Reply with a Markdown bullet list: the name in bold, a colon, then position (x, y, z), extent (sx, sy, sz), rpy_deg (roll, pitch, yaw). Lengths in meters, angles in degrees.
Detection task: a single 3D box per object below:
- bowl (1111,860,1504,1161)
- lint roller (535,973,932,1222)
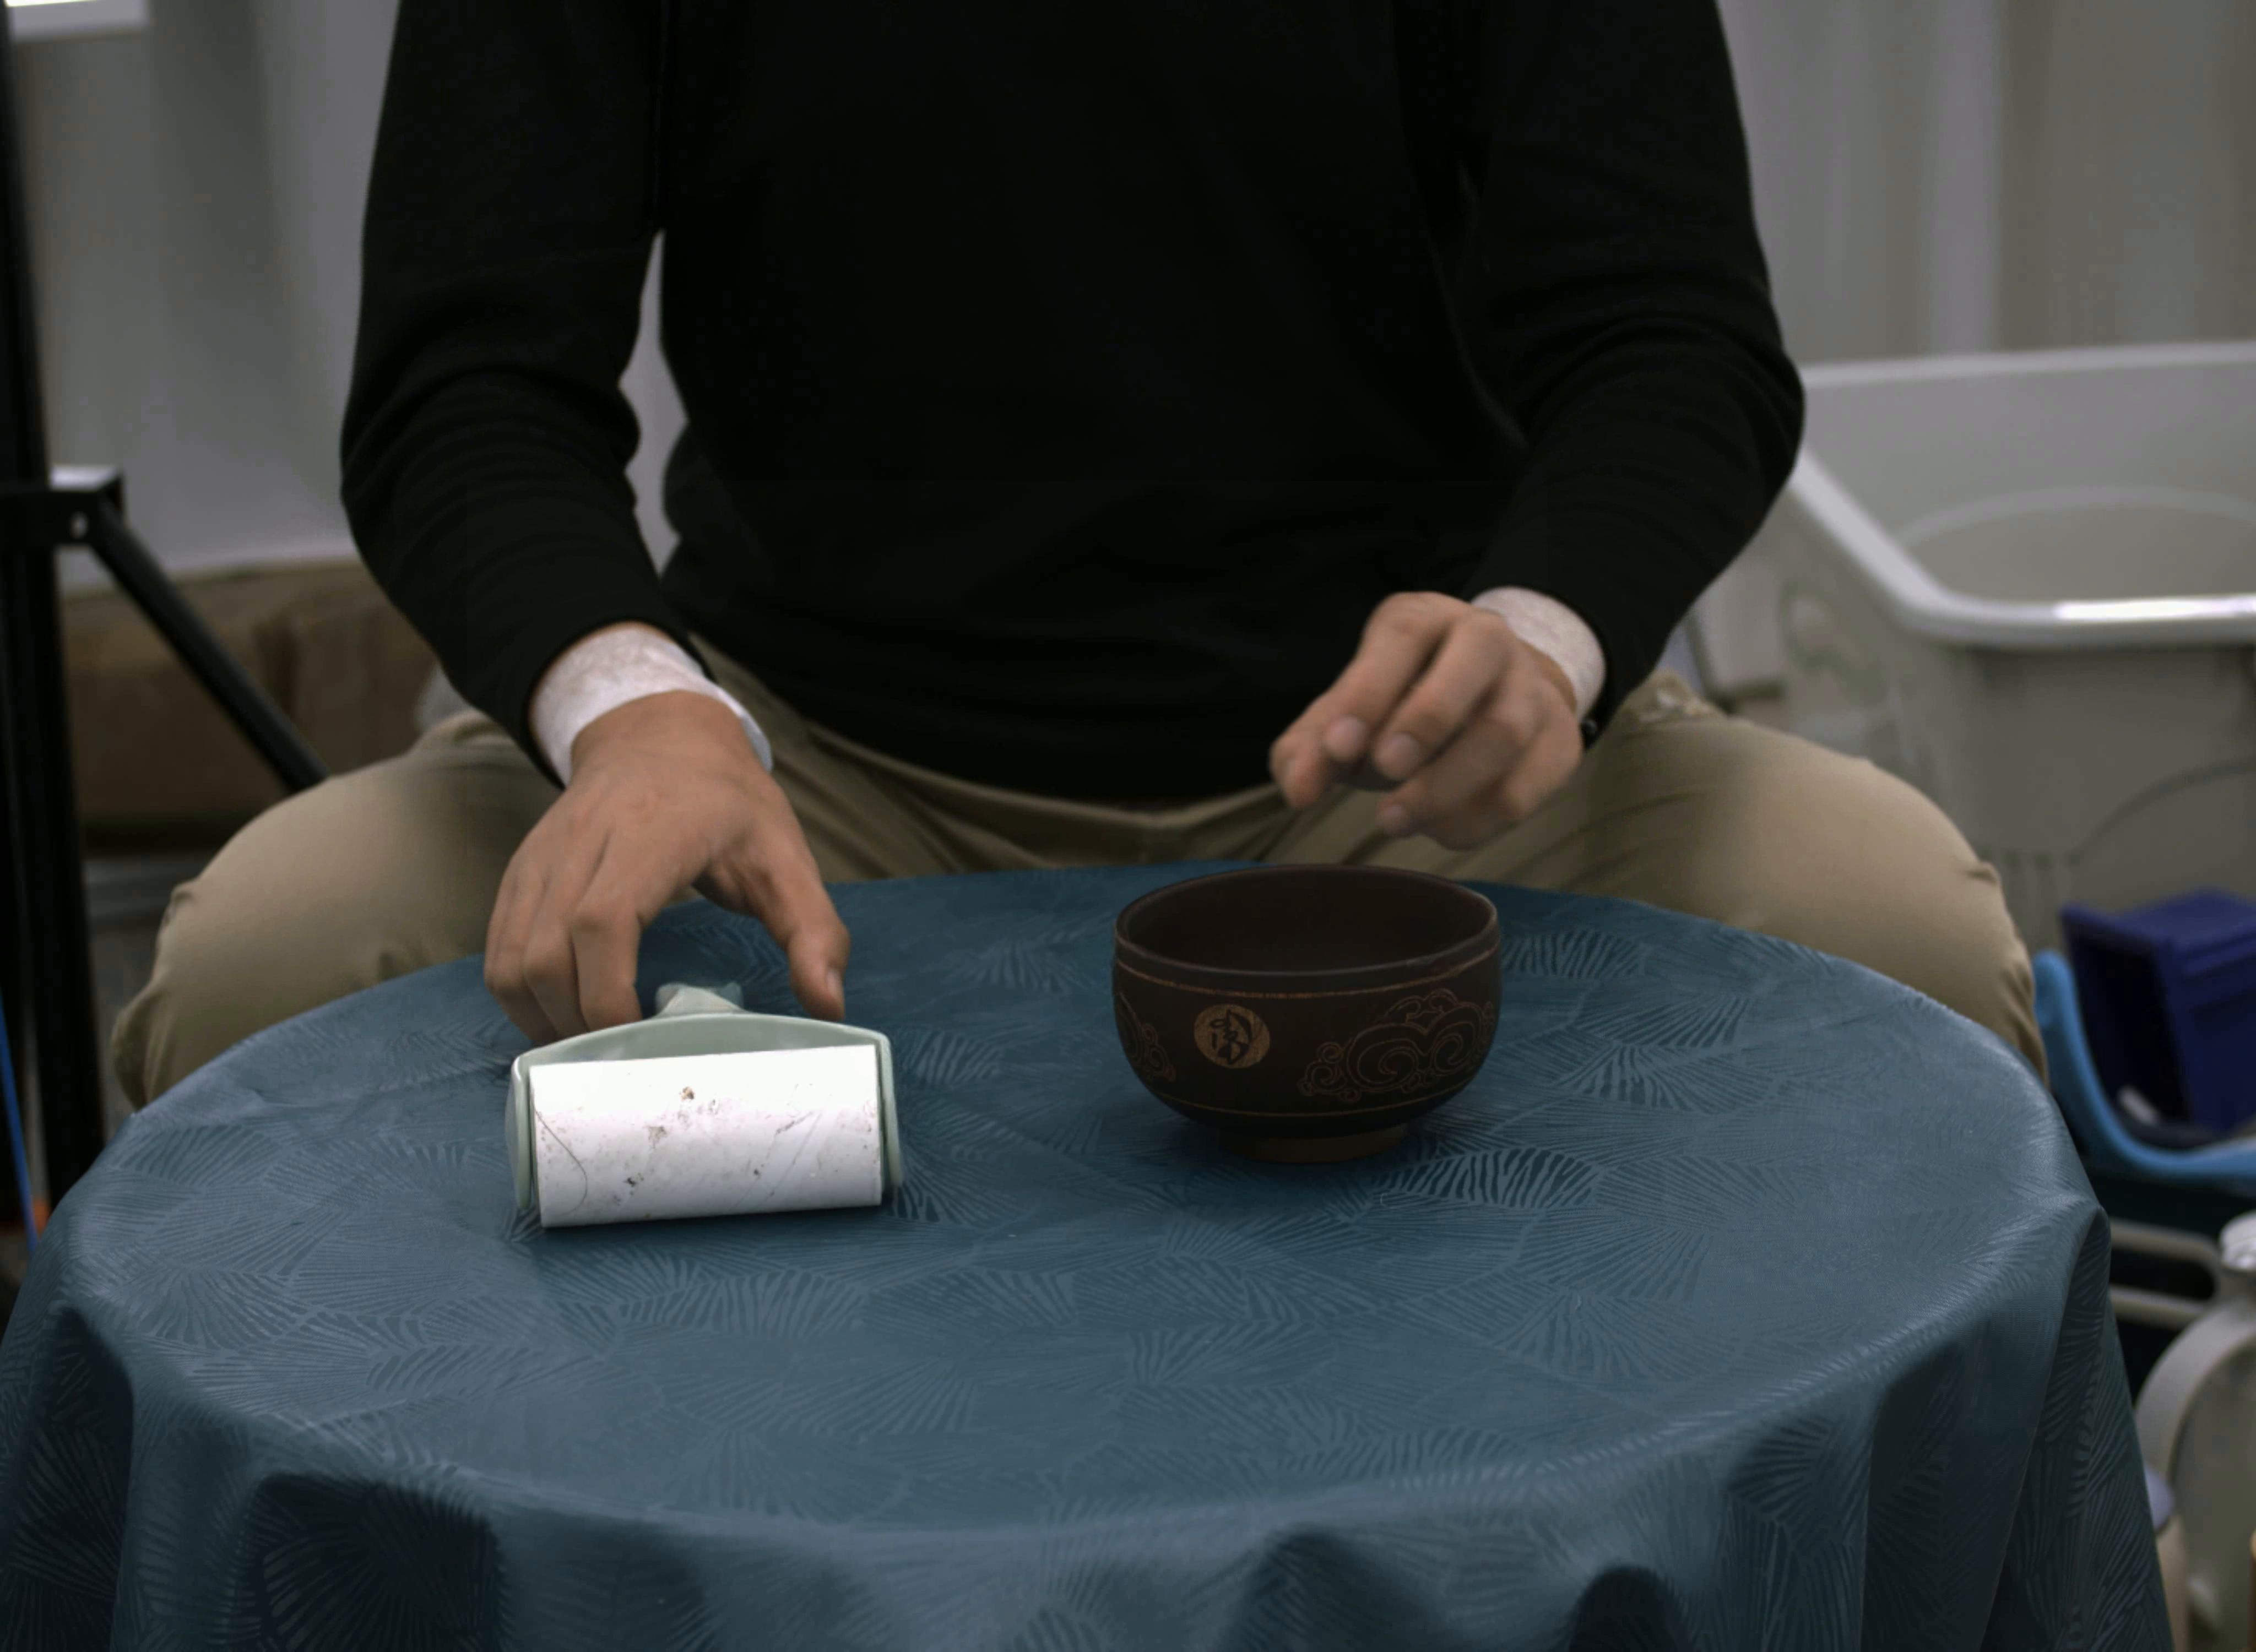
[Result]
- **bowl**: position (0.055, 0.059, 1.590), extent (0.117, 0.070, 0.118), rpy_deg (-3, 15, -1)
- **lint roller**: position (-0.122, 0.071, 1.625), extent (0.116, 0.048, 0.199), rpy_deg (-5, 14, -4)
